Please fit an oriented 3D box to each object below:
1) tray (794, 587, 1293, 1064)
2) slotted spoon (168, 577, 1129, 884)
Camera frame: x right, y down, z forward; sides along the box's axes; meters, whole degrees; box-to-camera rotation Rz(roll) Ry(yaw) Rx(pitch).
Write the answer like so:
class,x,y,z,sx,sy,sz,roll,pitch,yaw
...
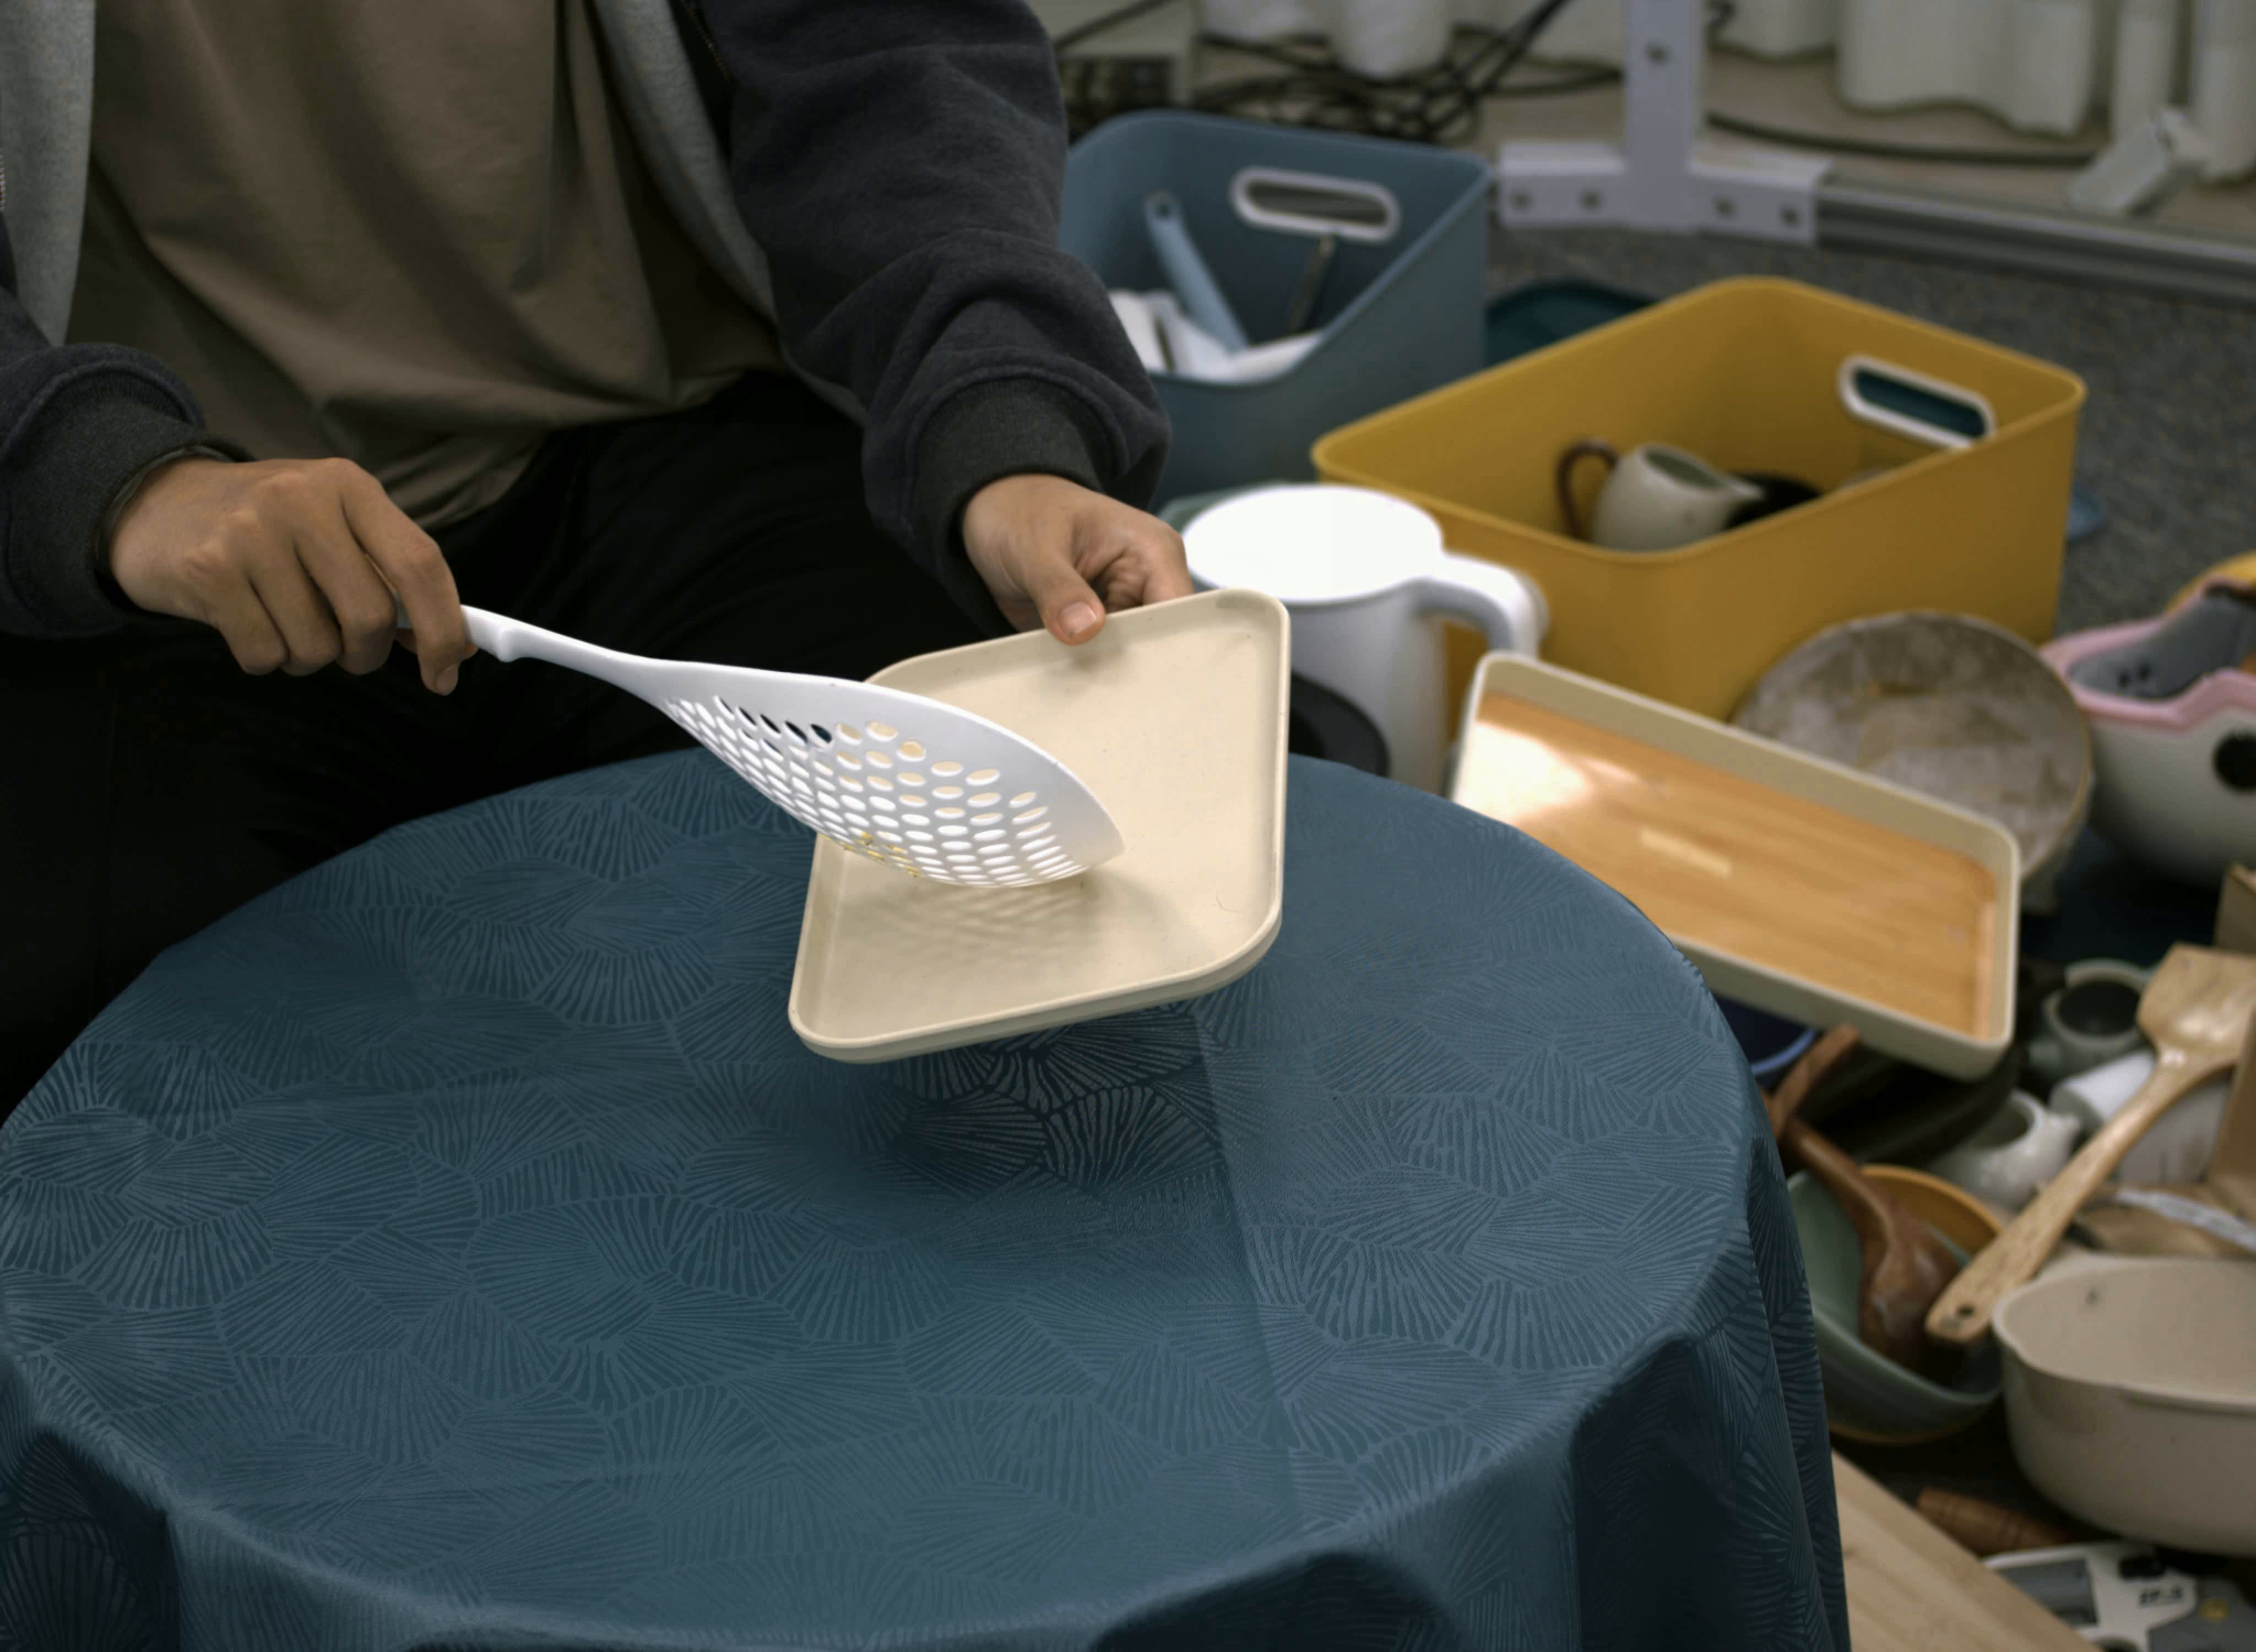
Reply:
class,x,y,z,sx,sy,sz,roll,pitch,yaw
tray,-0.025,-0.001,1.926,0.170,0.017,0.244,-13,31,11
slotted spoon,-0.165,-0.042,1.895,0.347,0.135,0.051,20,77,19
